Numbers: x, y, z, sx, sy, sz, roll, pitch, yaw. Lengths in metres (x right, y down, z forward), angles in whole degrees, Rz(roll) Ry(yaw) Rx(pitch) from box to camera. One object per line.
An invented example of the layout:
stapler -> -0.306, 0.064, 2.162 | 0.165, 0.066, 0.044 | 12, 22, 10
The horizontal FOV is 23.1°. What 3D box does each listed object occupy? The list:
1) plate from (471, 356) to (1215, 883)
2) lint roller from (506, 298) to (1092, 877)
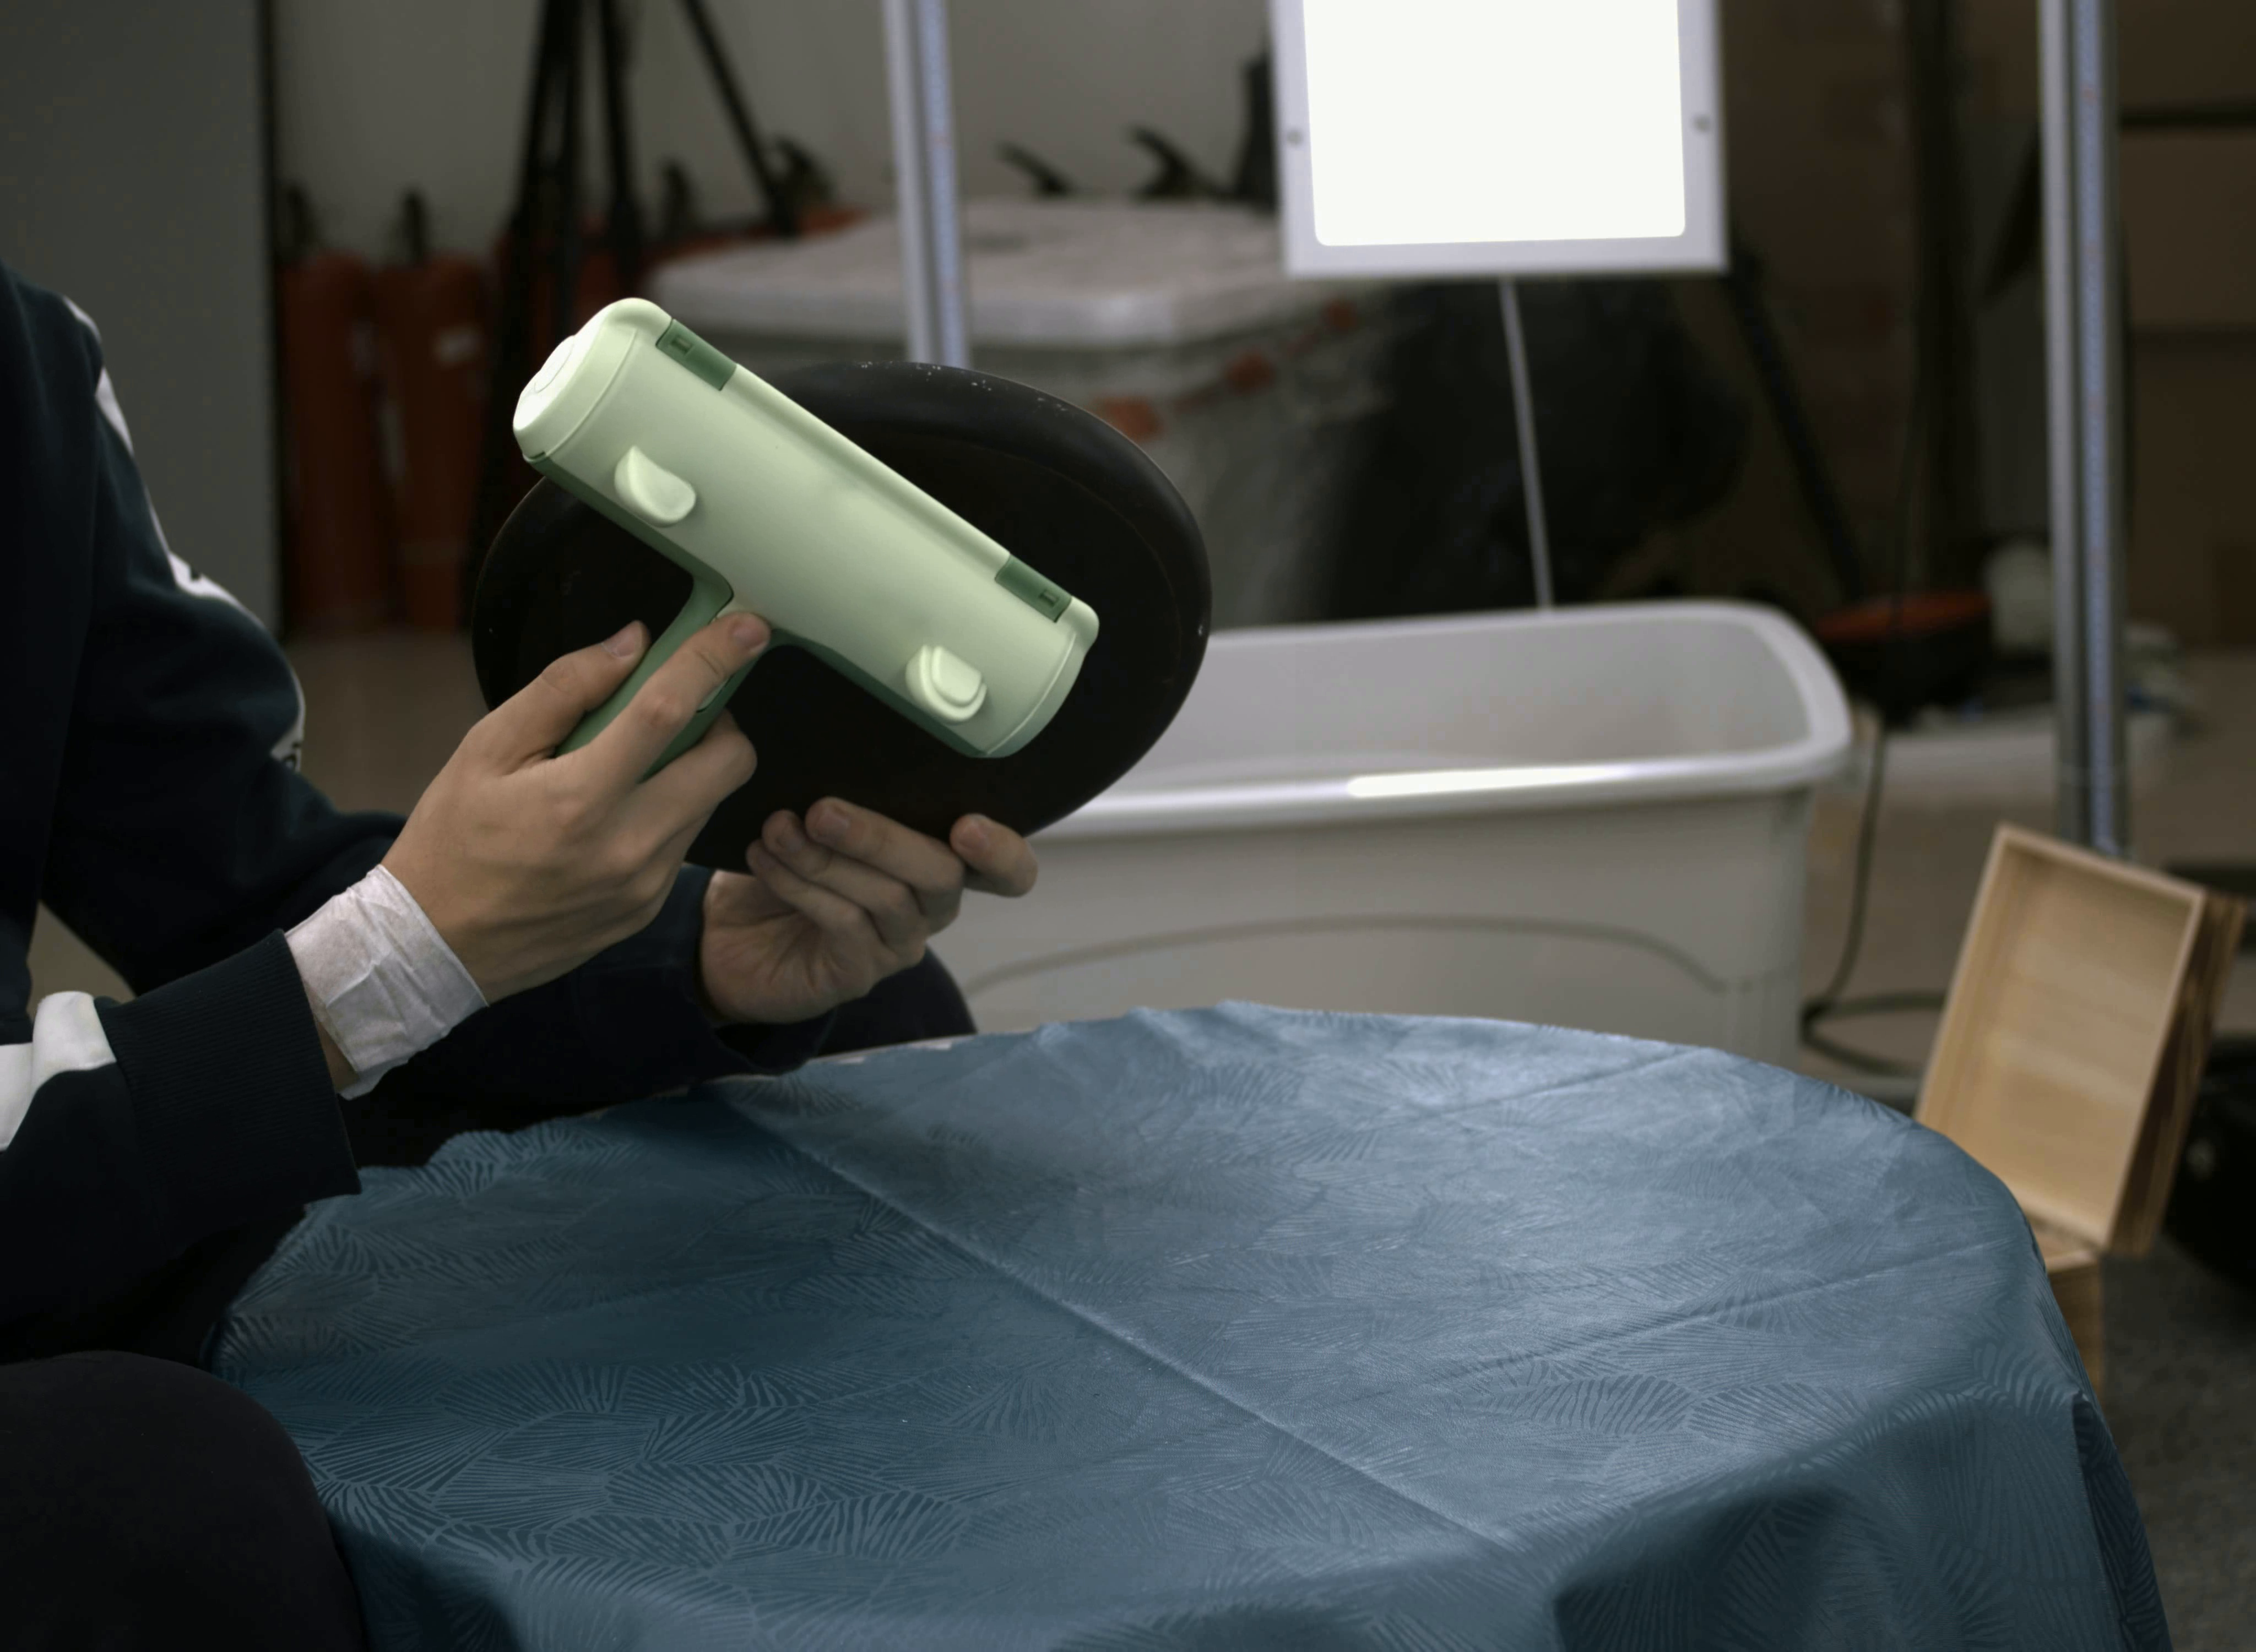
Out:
plate -> -0.095, -0.063, 1.863 | 0.254, 0.256, 0.029 | -4, 52, -1
lint roller -> -0.138, -0.046, 1.766 | 0.196, 0.185, 0.082 | 34, 12, -20
